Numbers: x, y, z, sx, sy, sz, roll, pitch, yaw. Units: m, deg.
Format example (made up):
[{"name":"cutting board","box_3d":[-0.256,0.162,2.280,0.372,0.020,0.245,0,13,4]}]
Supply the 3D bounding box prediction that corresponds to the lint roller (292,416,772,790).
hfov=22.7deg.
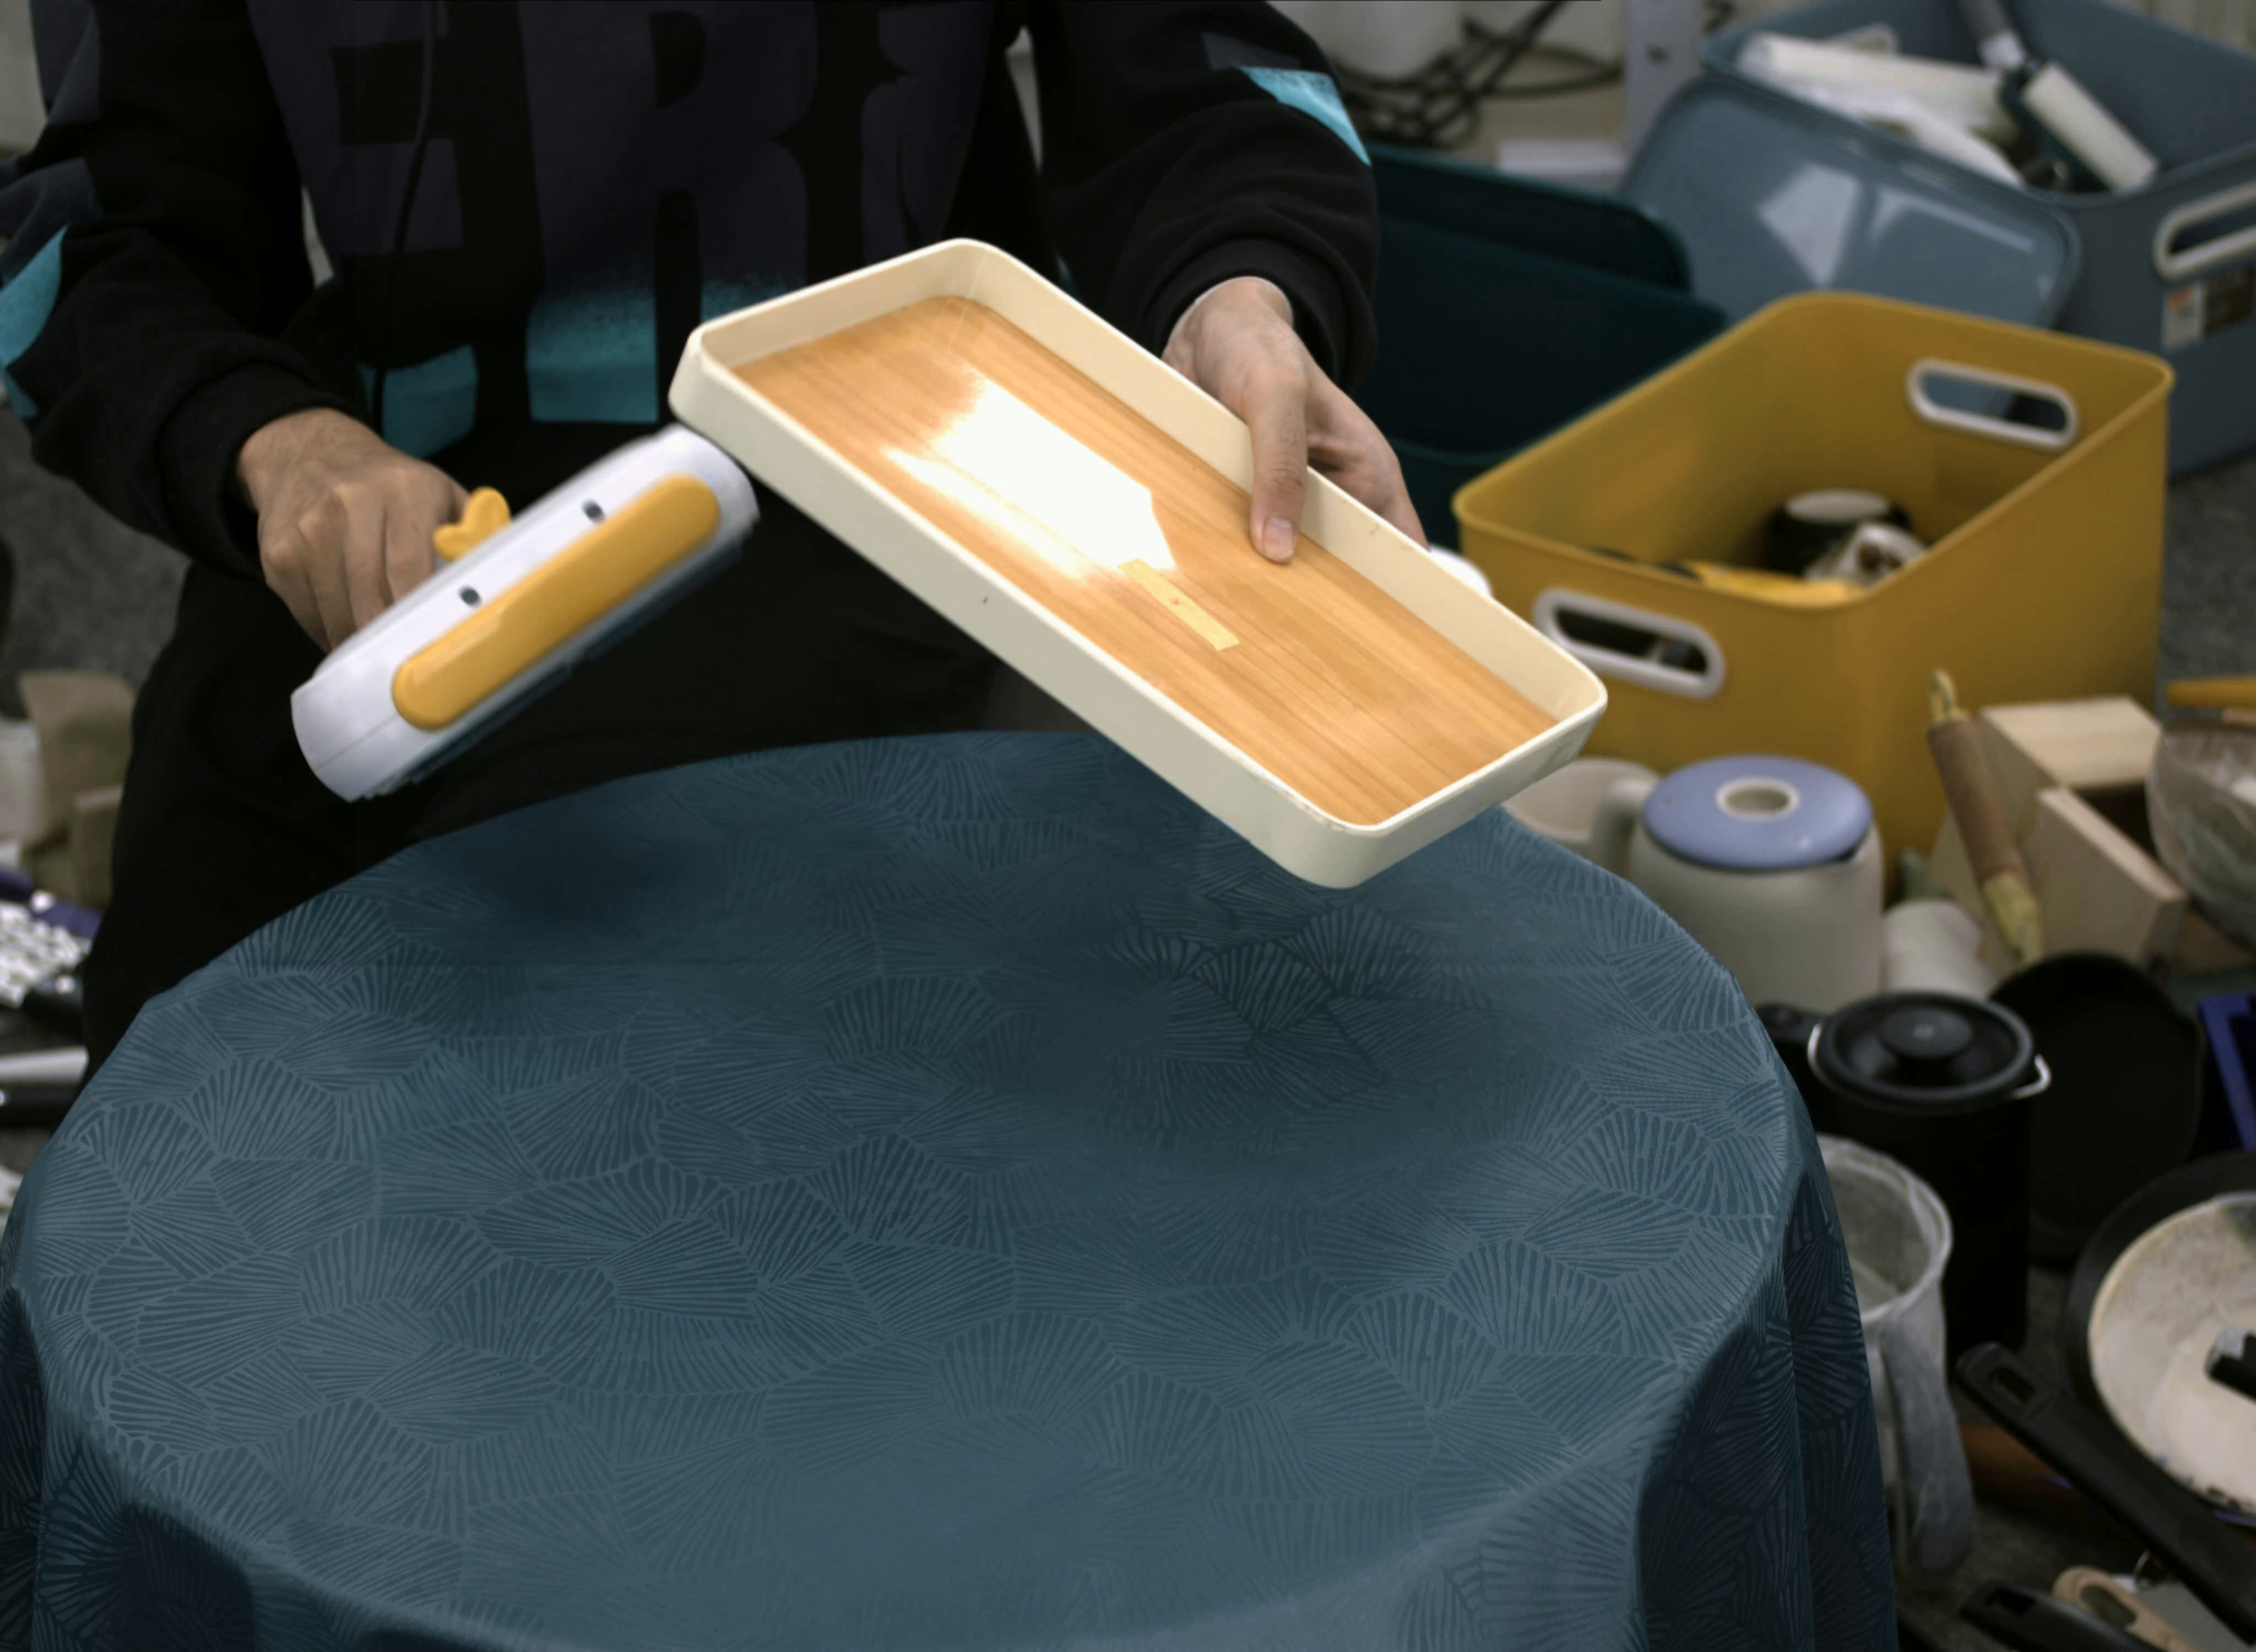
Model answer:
[{"name":"lint roller","box_3d":[-0.245,-0.082,2.069,0.195,0.074,0.190,-43,18,-29]}]

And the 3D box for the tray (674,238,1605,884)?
[{"name":"tray","box_3d":[0.005,-0.095,1.917,0.301,0.027,0.194,38,30,18]}]
